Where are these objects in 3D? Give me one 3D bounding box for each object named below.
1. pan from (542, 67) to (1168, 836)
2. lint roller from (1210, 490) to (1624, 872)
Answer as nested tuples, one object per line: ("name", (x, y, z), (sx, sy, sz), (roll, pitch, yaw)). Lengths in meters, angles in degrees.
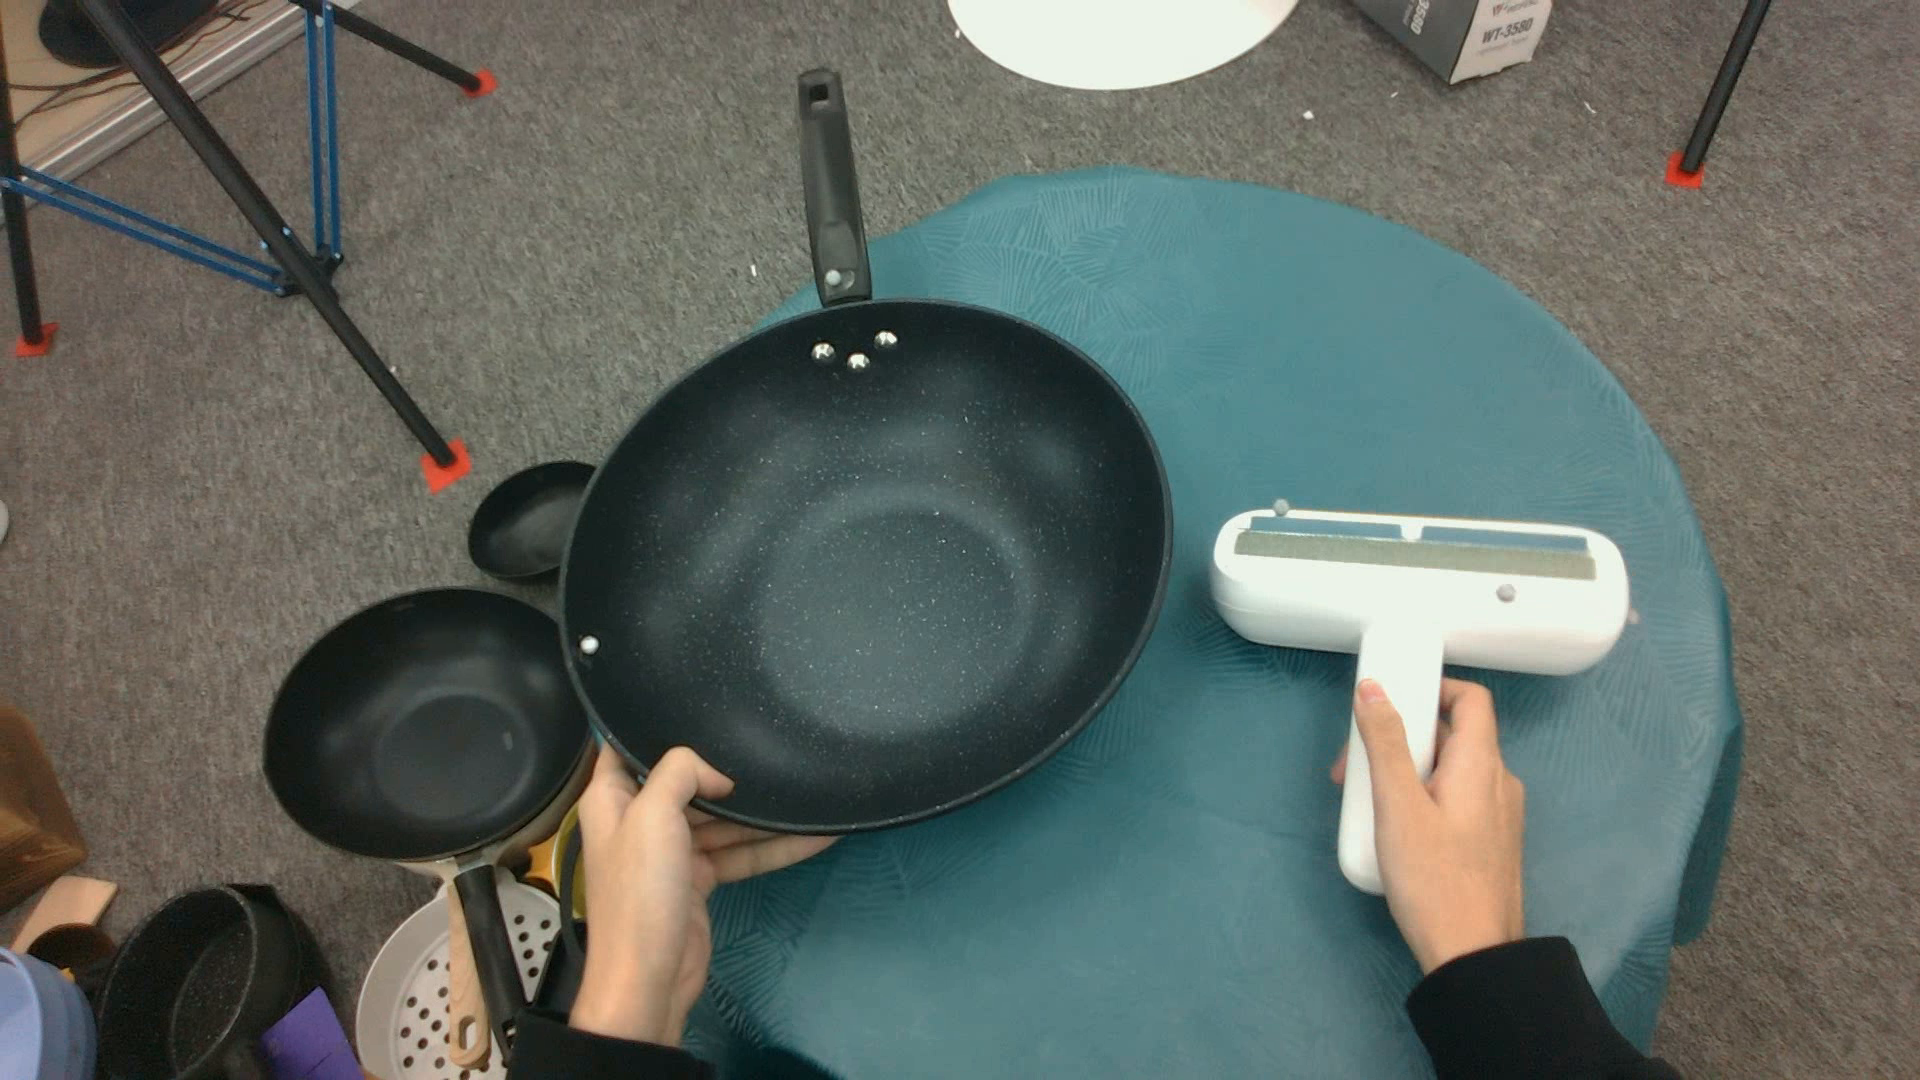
("pan", (-0.060, -0.059, 0.745), (0.310, 0.111, 0.478), (-9, 57, 2))
("lint roller", (0.202, 0.061, 0.649), (0.192, 0.074, 0.193), (9, 51, 20))
